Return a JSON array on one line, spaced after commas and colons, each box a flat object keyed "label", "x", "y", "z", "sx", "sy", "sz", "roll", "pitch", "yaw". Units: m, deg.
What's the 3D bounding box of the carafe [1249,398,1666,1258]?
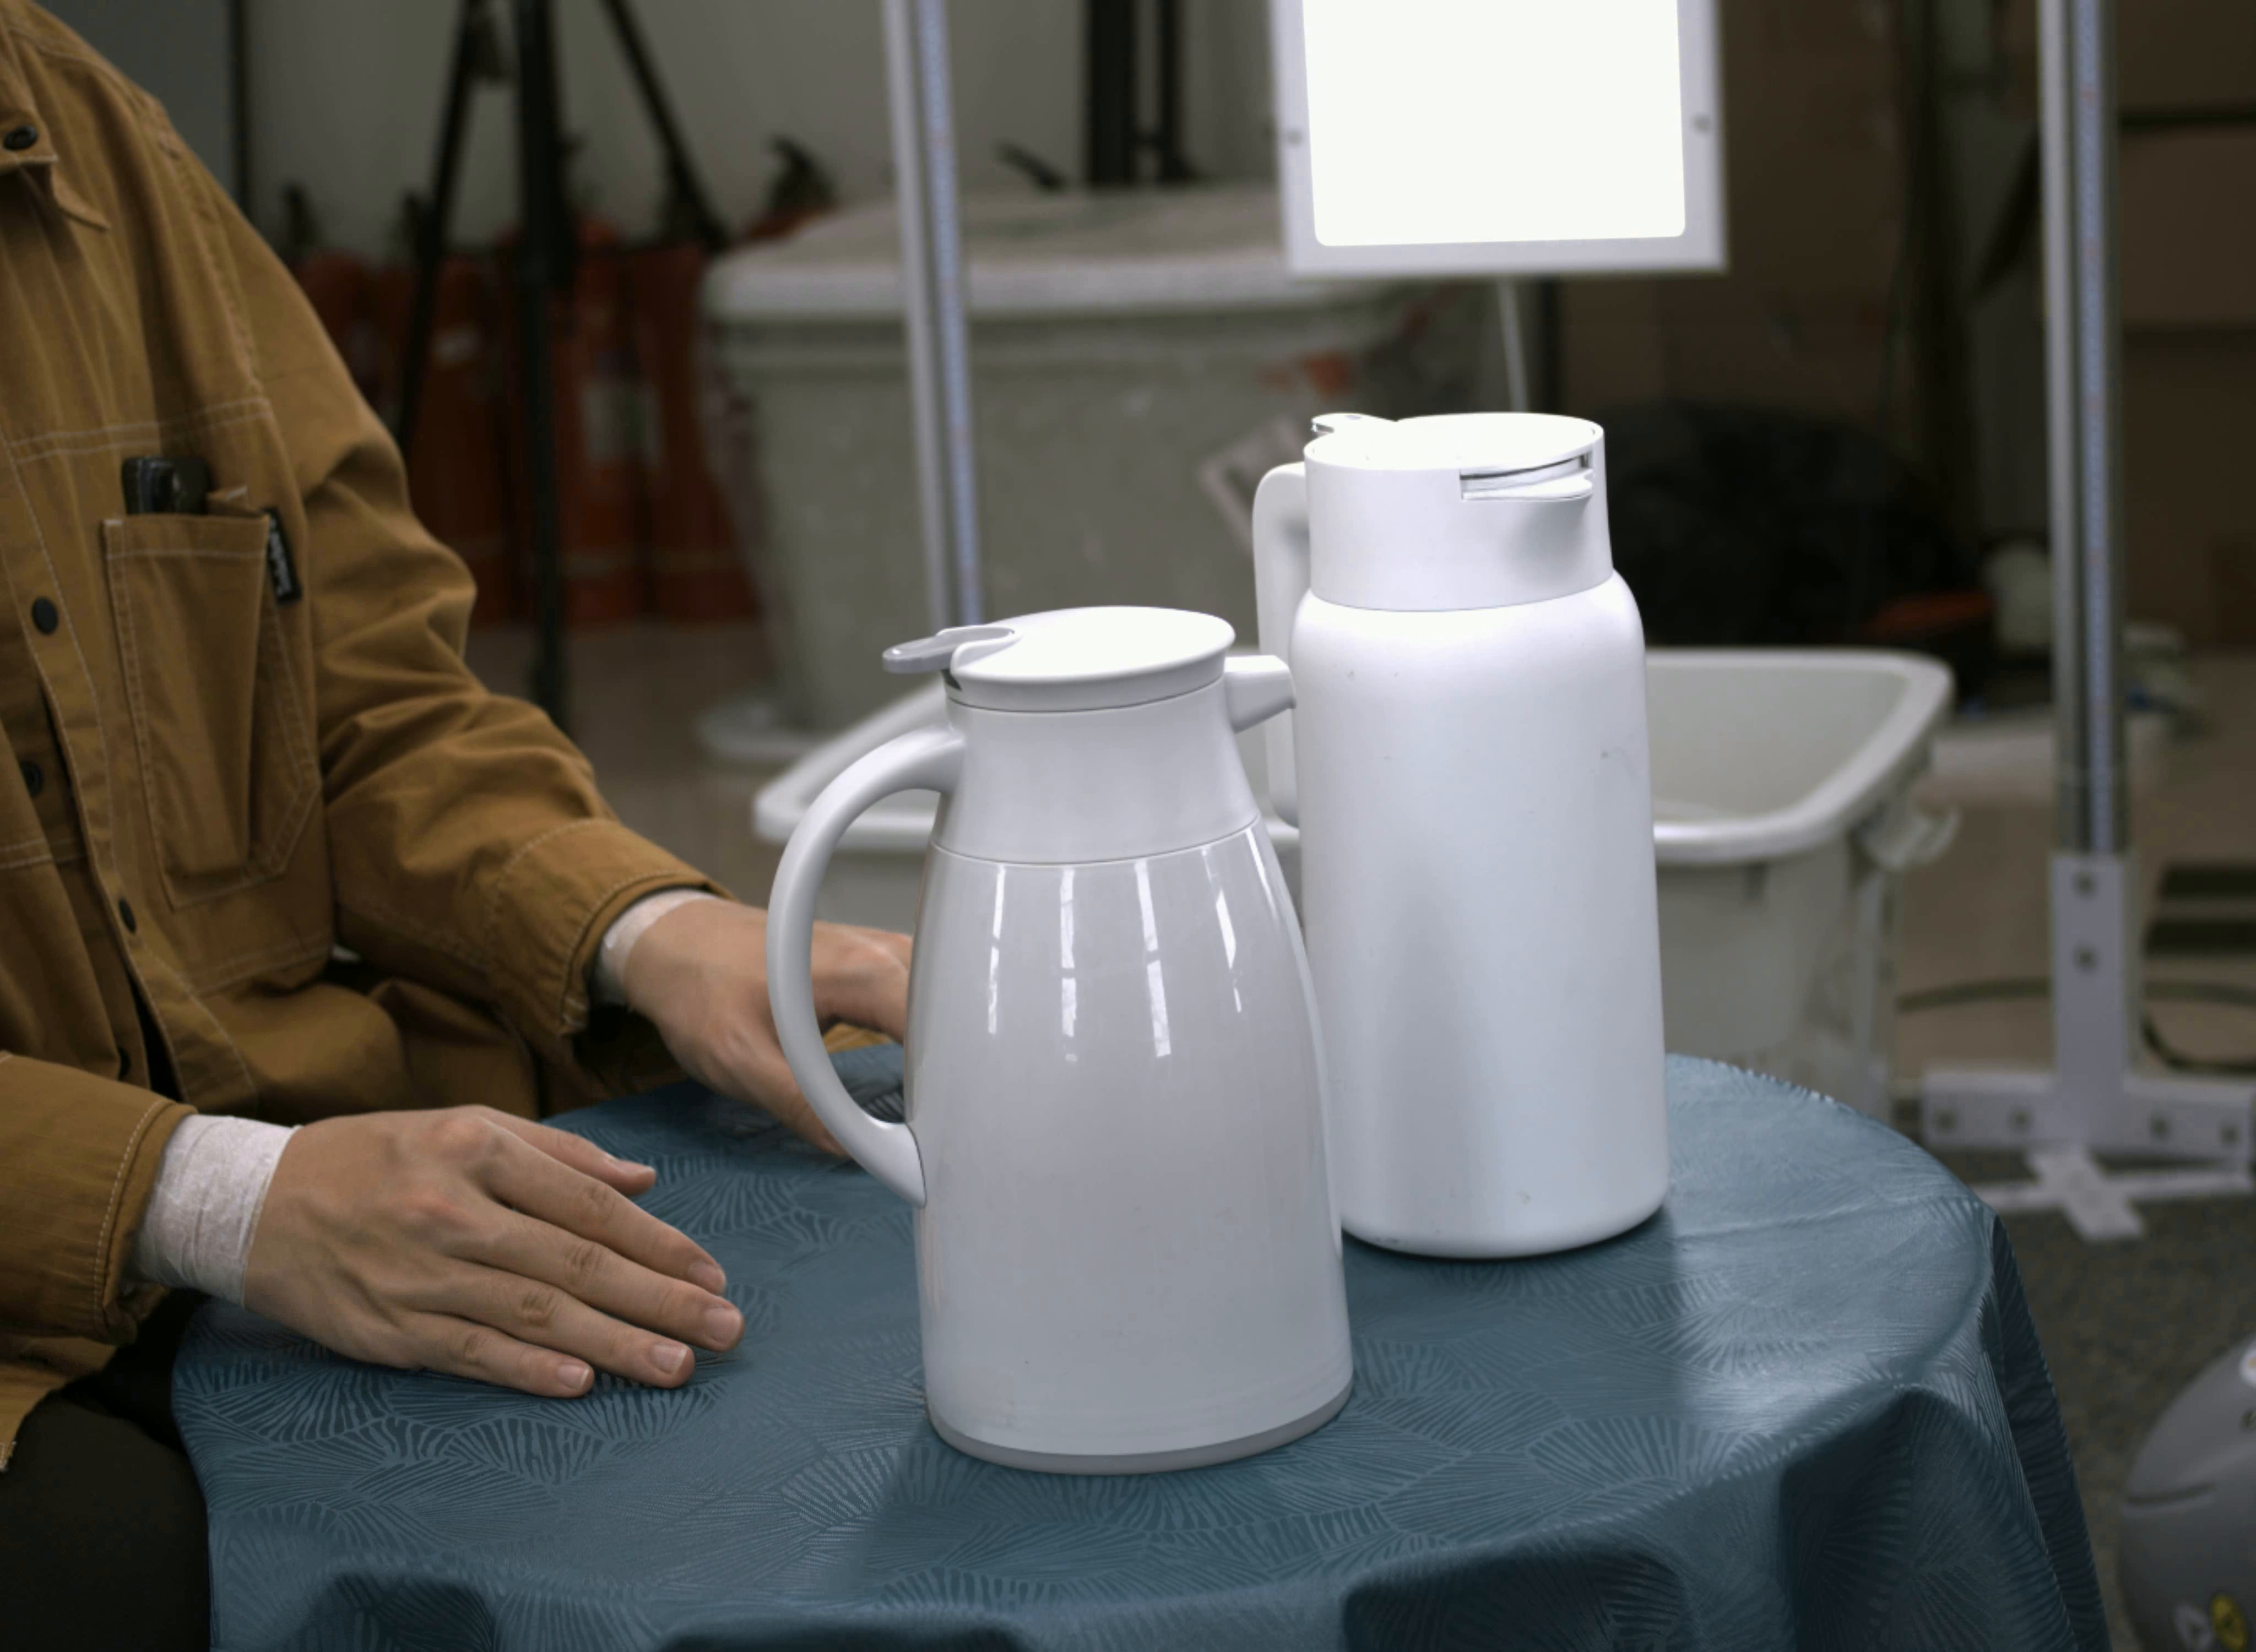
[{"label": "carafe", "x": 0.103, "y": -0.002, "z": 1.822, "sx": 0.121, "sy": 0.270, "sz": 0.176, "roll": -15, "pitch": 17, "yaw": -29}]

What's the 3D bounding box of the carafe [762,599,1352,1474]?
[{"label": "carafe", "x": -0.024, "y": 0.060, "z": 1.659, "sx": 0.166, "sy": 0.249, "sz": 0.133, "roll": -8, "pitch": 14, "yaw": -11}]
